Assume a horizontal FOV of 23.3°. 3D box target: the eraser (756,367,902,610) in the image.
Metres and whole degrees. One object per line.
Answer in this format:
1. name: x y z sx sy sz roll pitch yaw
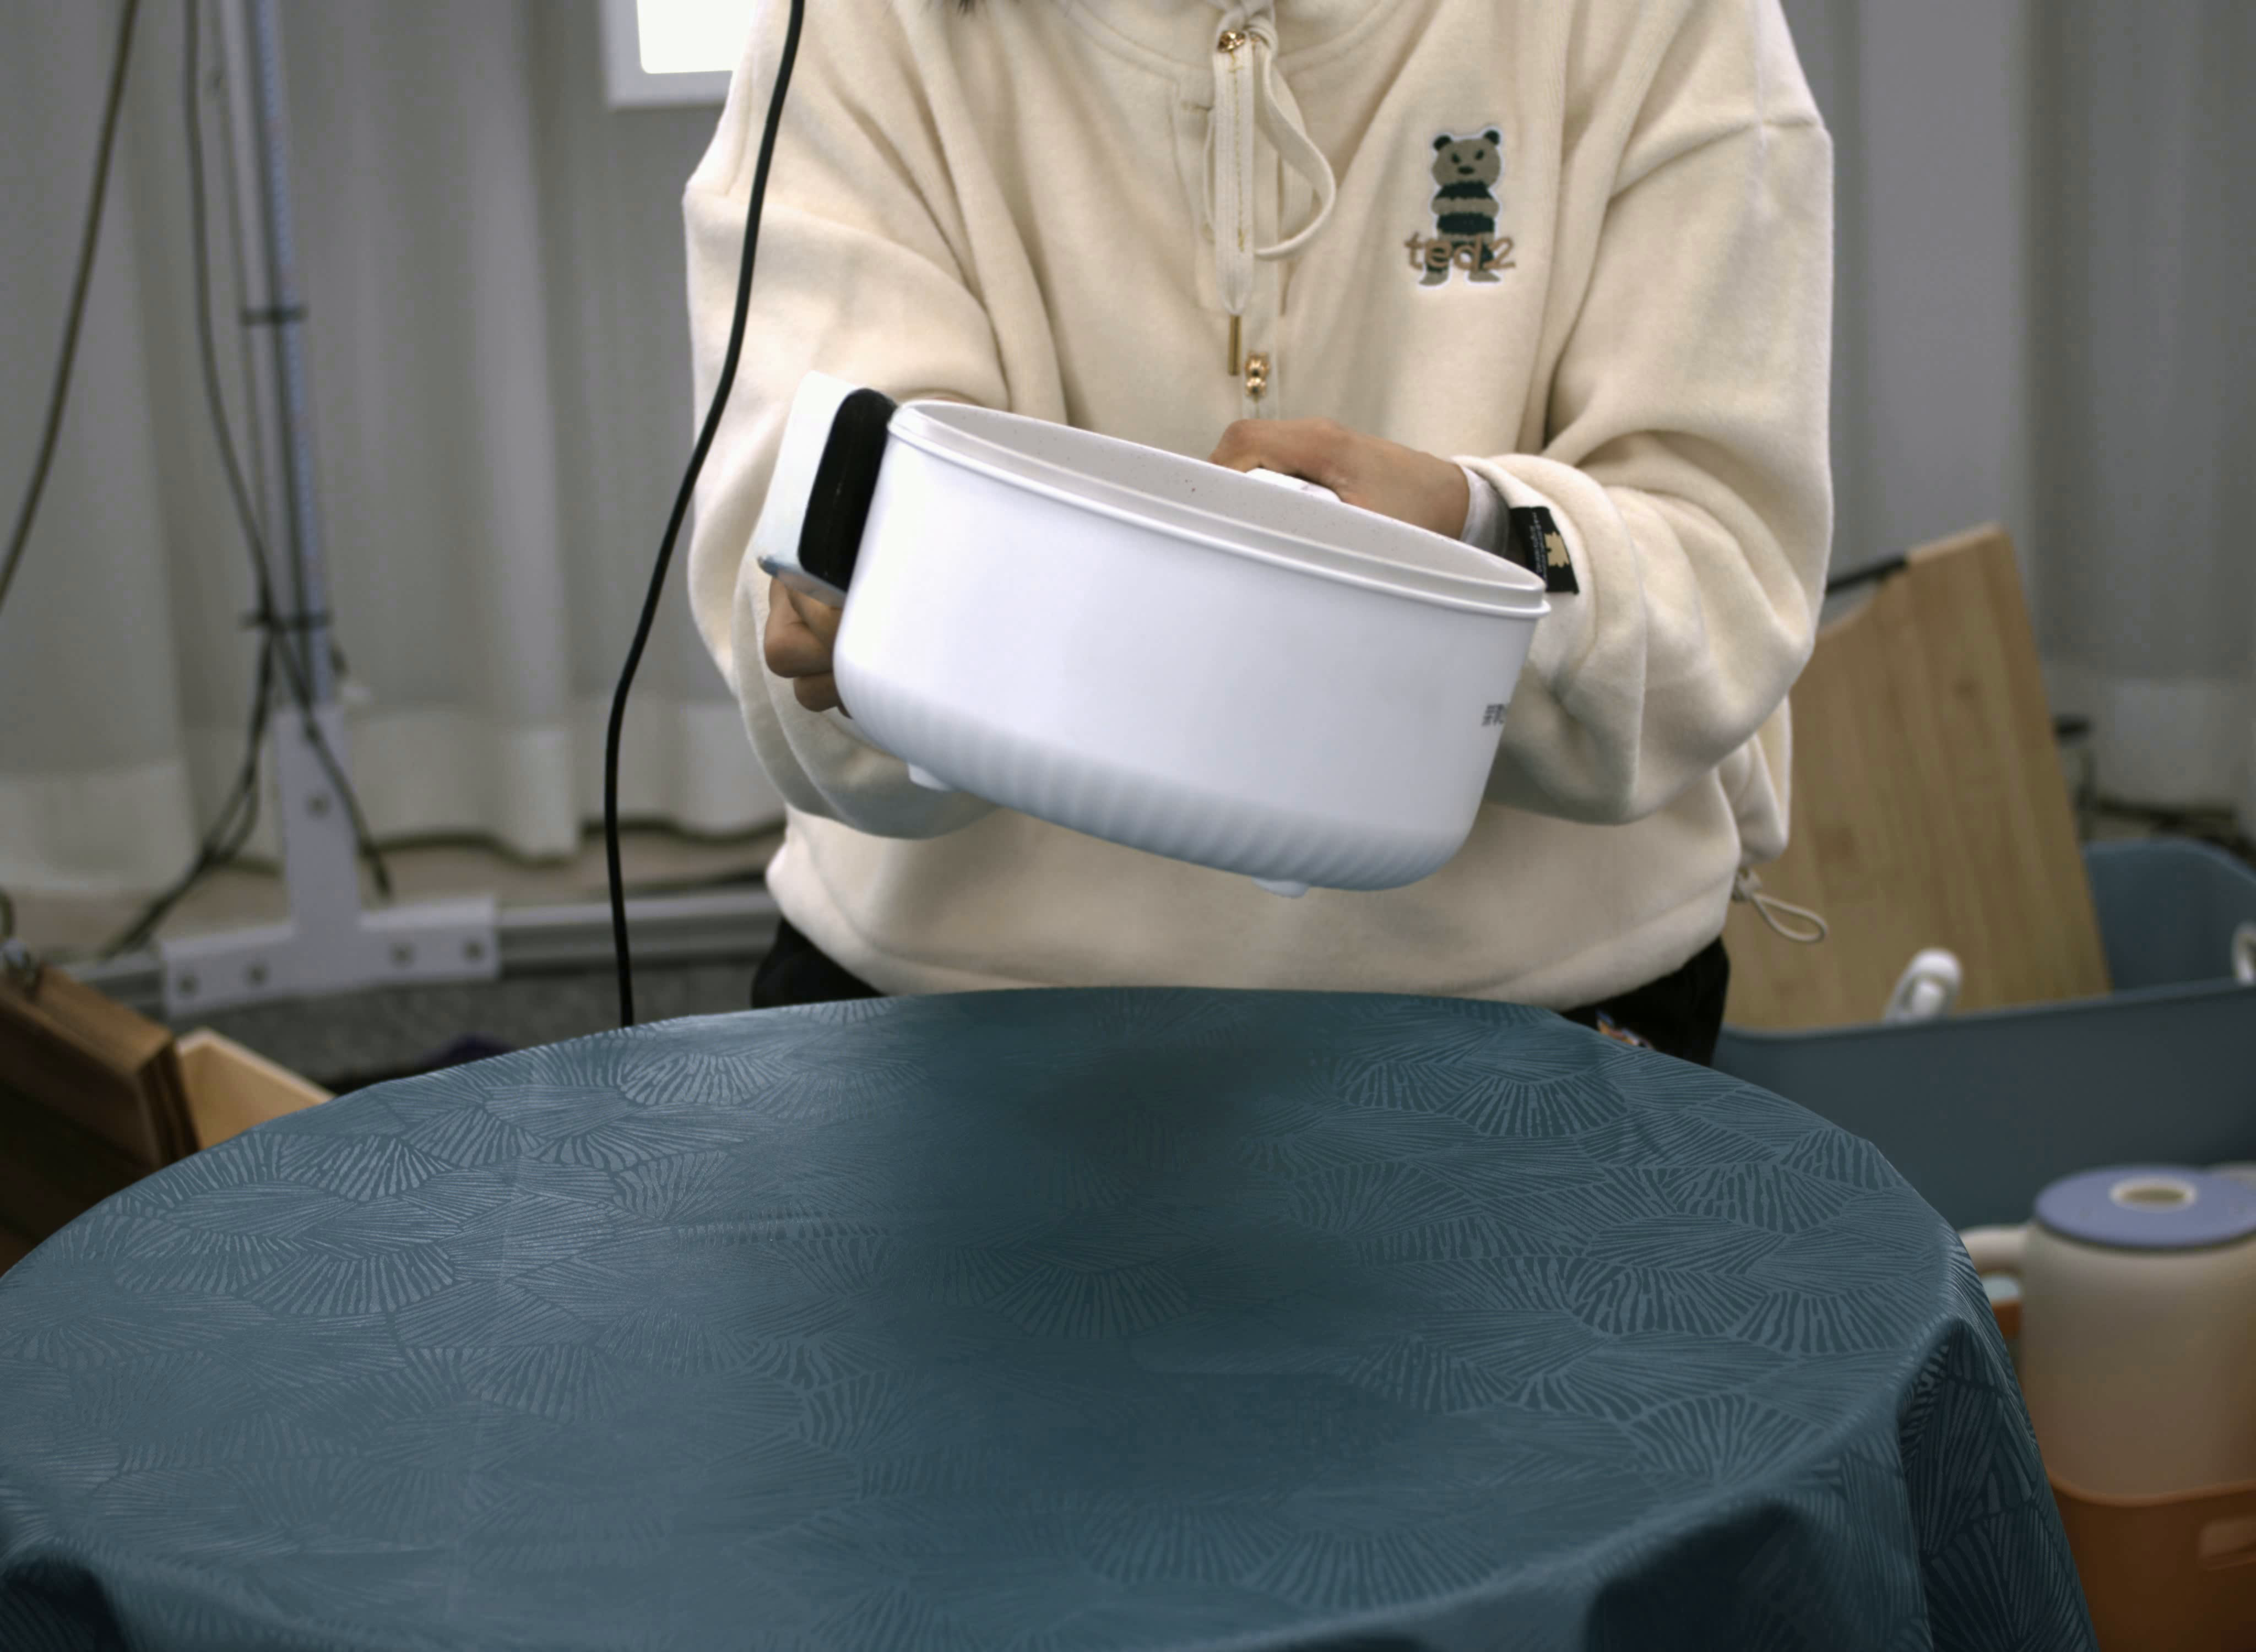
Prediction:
1. eraser: -0.074 -0.097 1.656 0.034 0.063 0.130 18 -3 19

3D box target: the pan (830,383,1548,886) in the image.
1. pan: 0.022 -0.056 1.668 0.201 0.102 0.355 18 5 5
